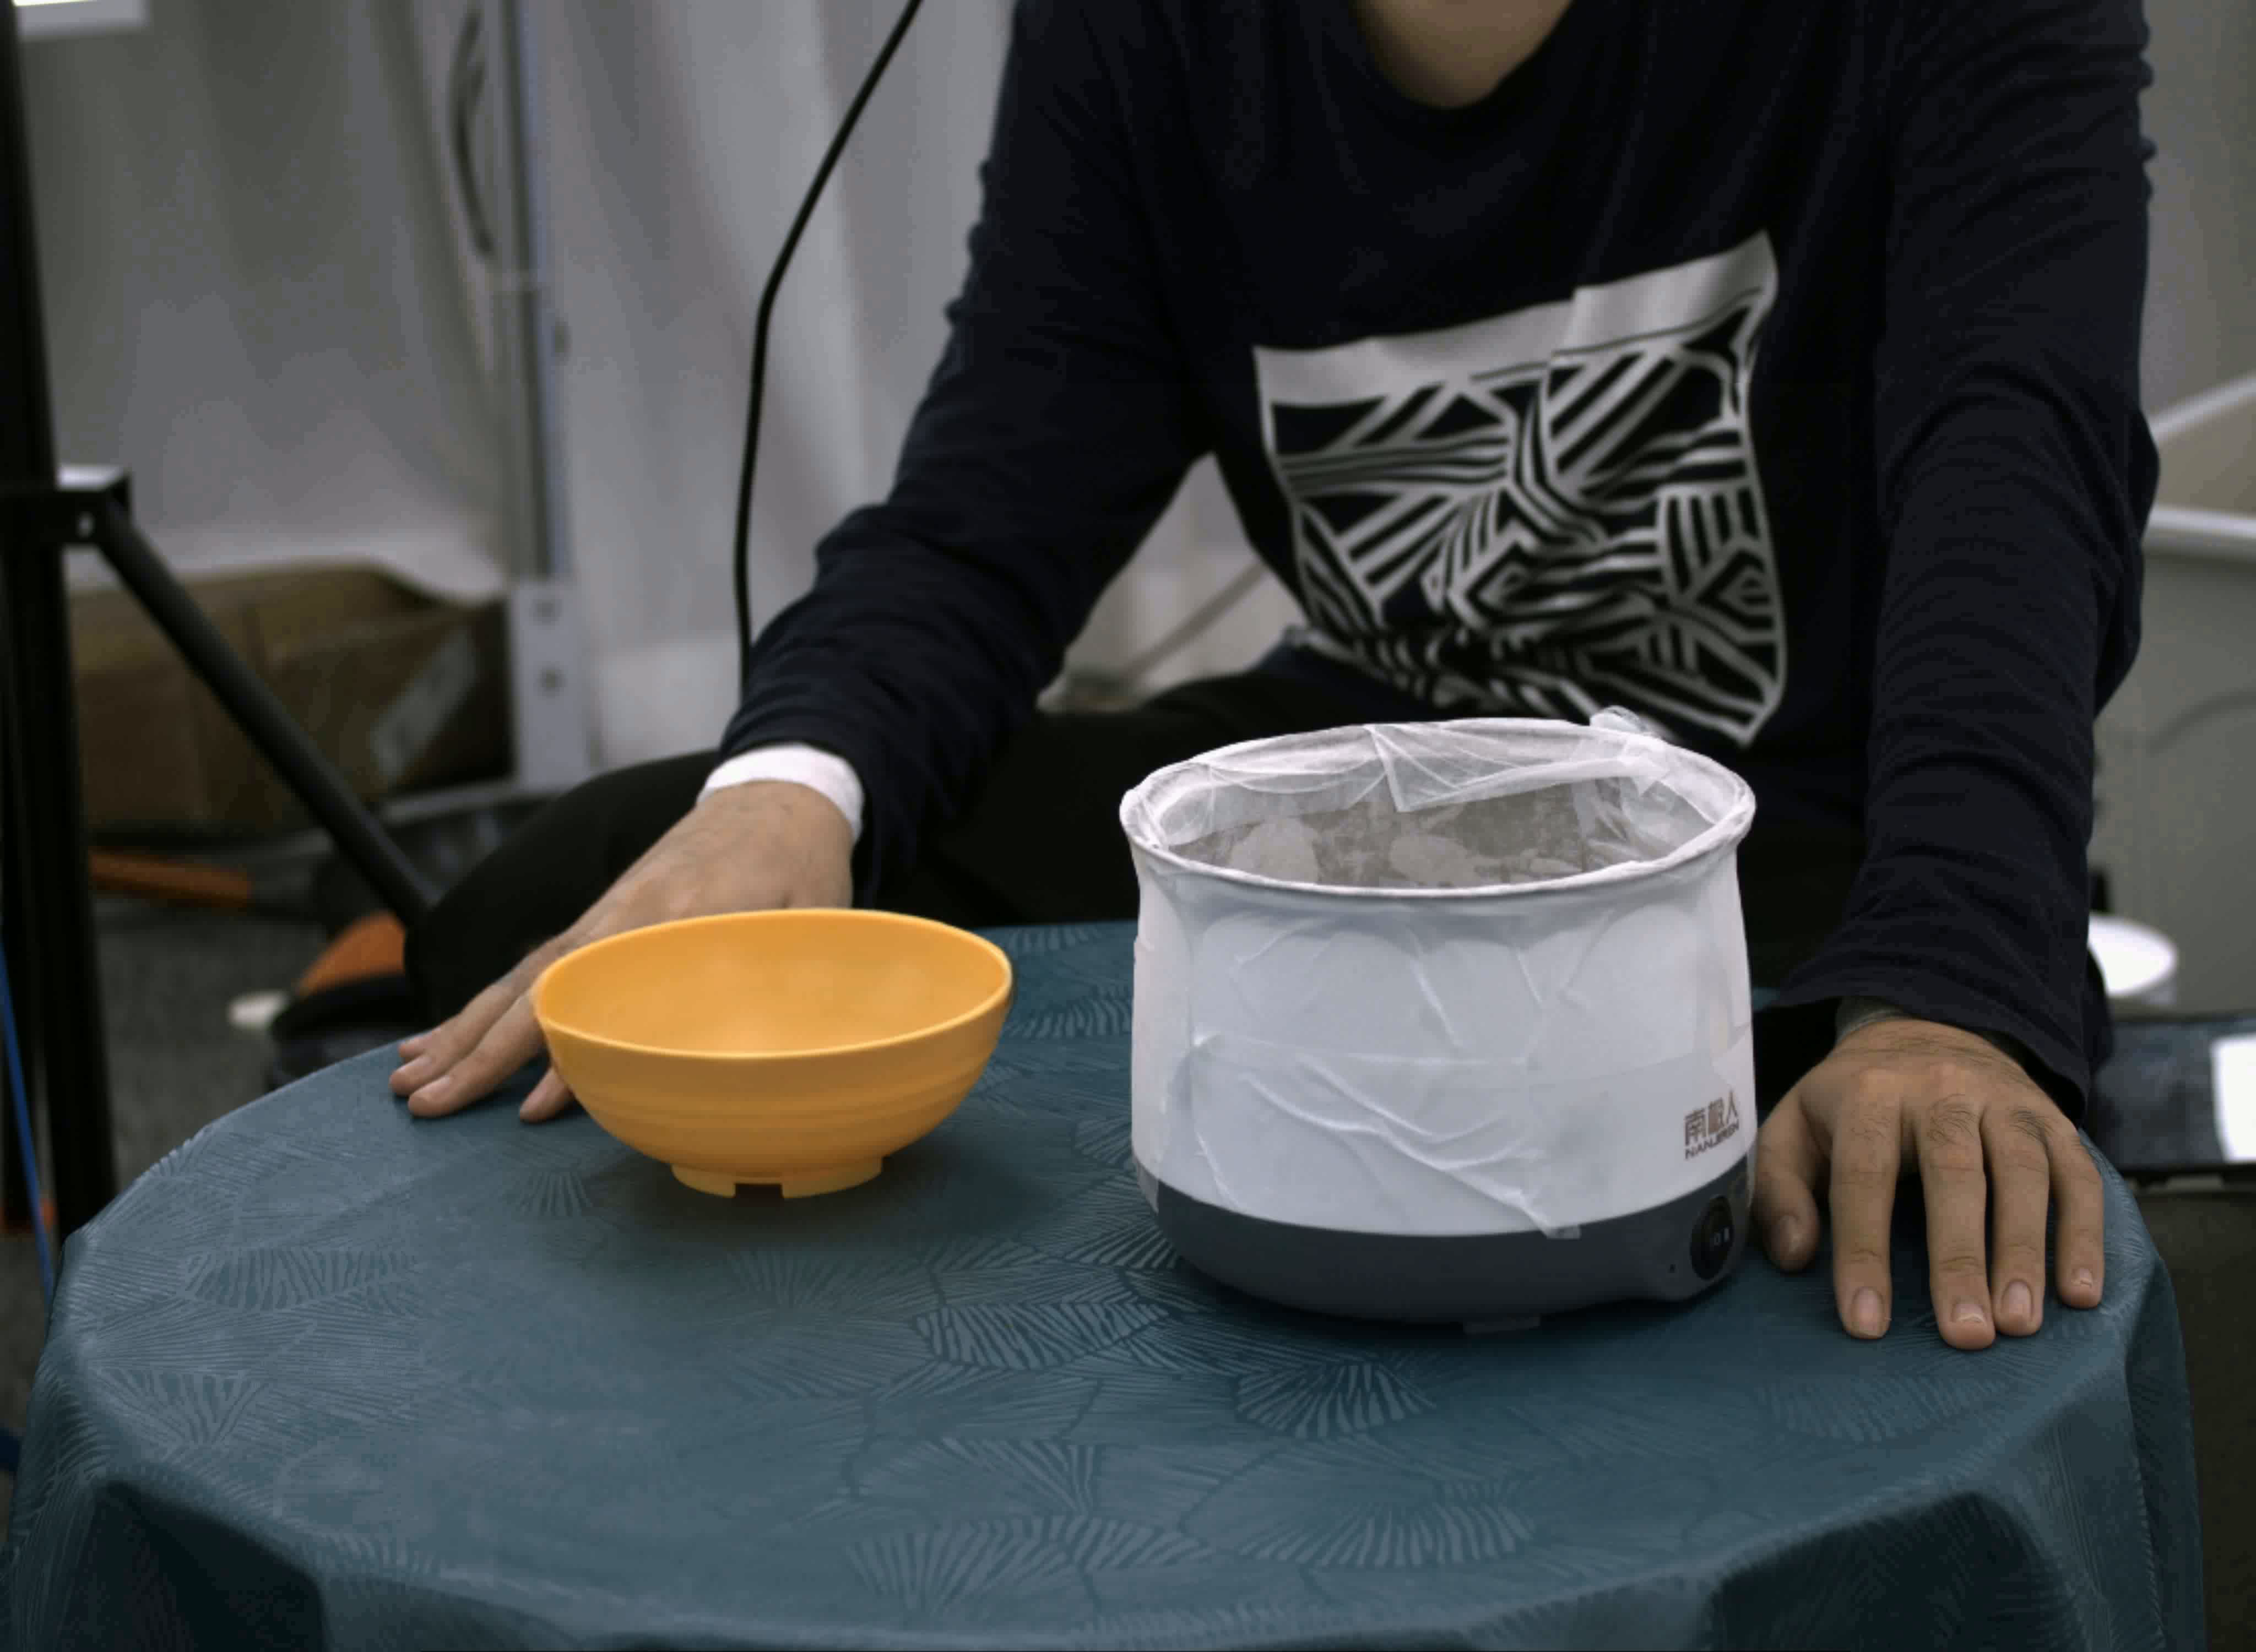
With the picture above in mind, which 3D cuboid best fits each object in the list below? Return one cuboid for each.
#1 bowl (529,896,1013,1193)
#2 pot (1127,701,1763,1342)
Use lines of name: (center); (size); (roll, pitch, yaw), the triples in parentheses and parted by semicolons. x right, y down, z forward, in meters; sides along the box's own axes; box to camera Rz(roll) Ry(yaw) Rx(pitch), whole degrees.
bowl: (-0.106, 0.071, 1.594); (0.144, 0.060, 0.146); (-2, 17, -1)
pot: (0.103, 0.047, 1.508); (0.182, 0.136, 0.229); (11, 21, 32)
